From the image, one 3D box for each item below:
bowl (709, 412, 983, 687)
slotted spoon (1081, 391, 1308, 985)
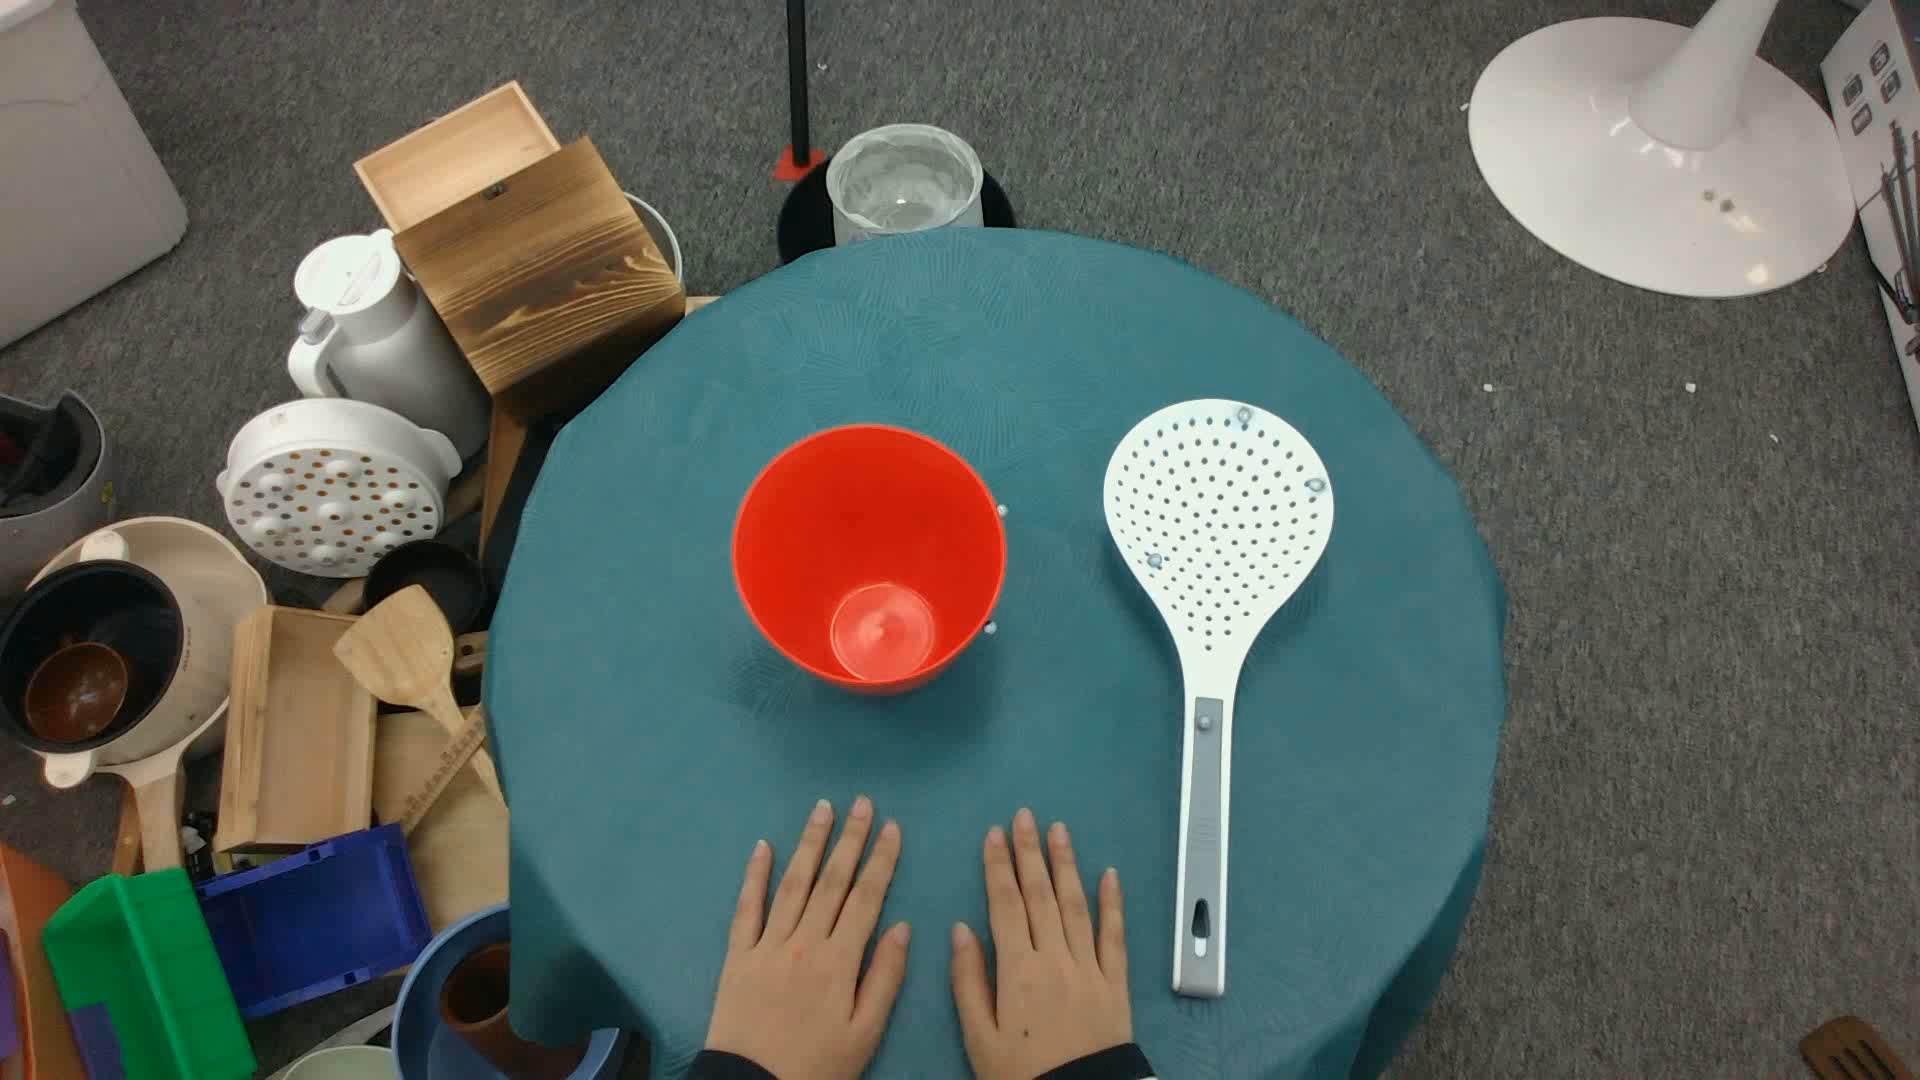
[{"bbox_3d":[-0.064,0.018,0.774,0.148,0.104,0.148,3,60,-5],"label":"bowl"},{"bbox_3d":[0.128,0.071,0.786,0.136,0.045,0.351,6,61,3],"label":"slotted spoon"}]
